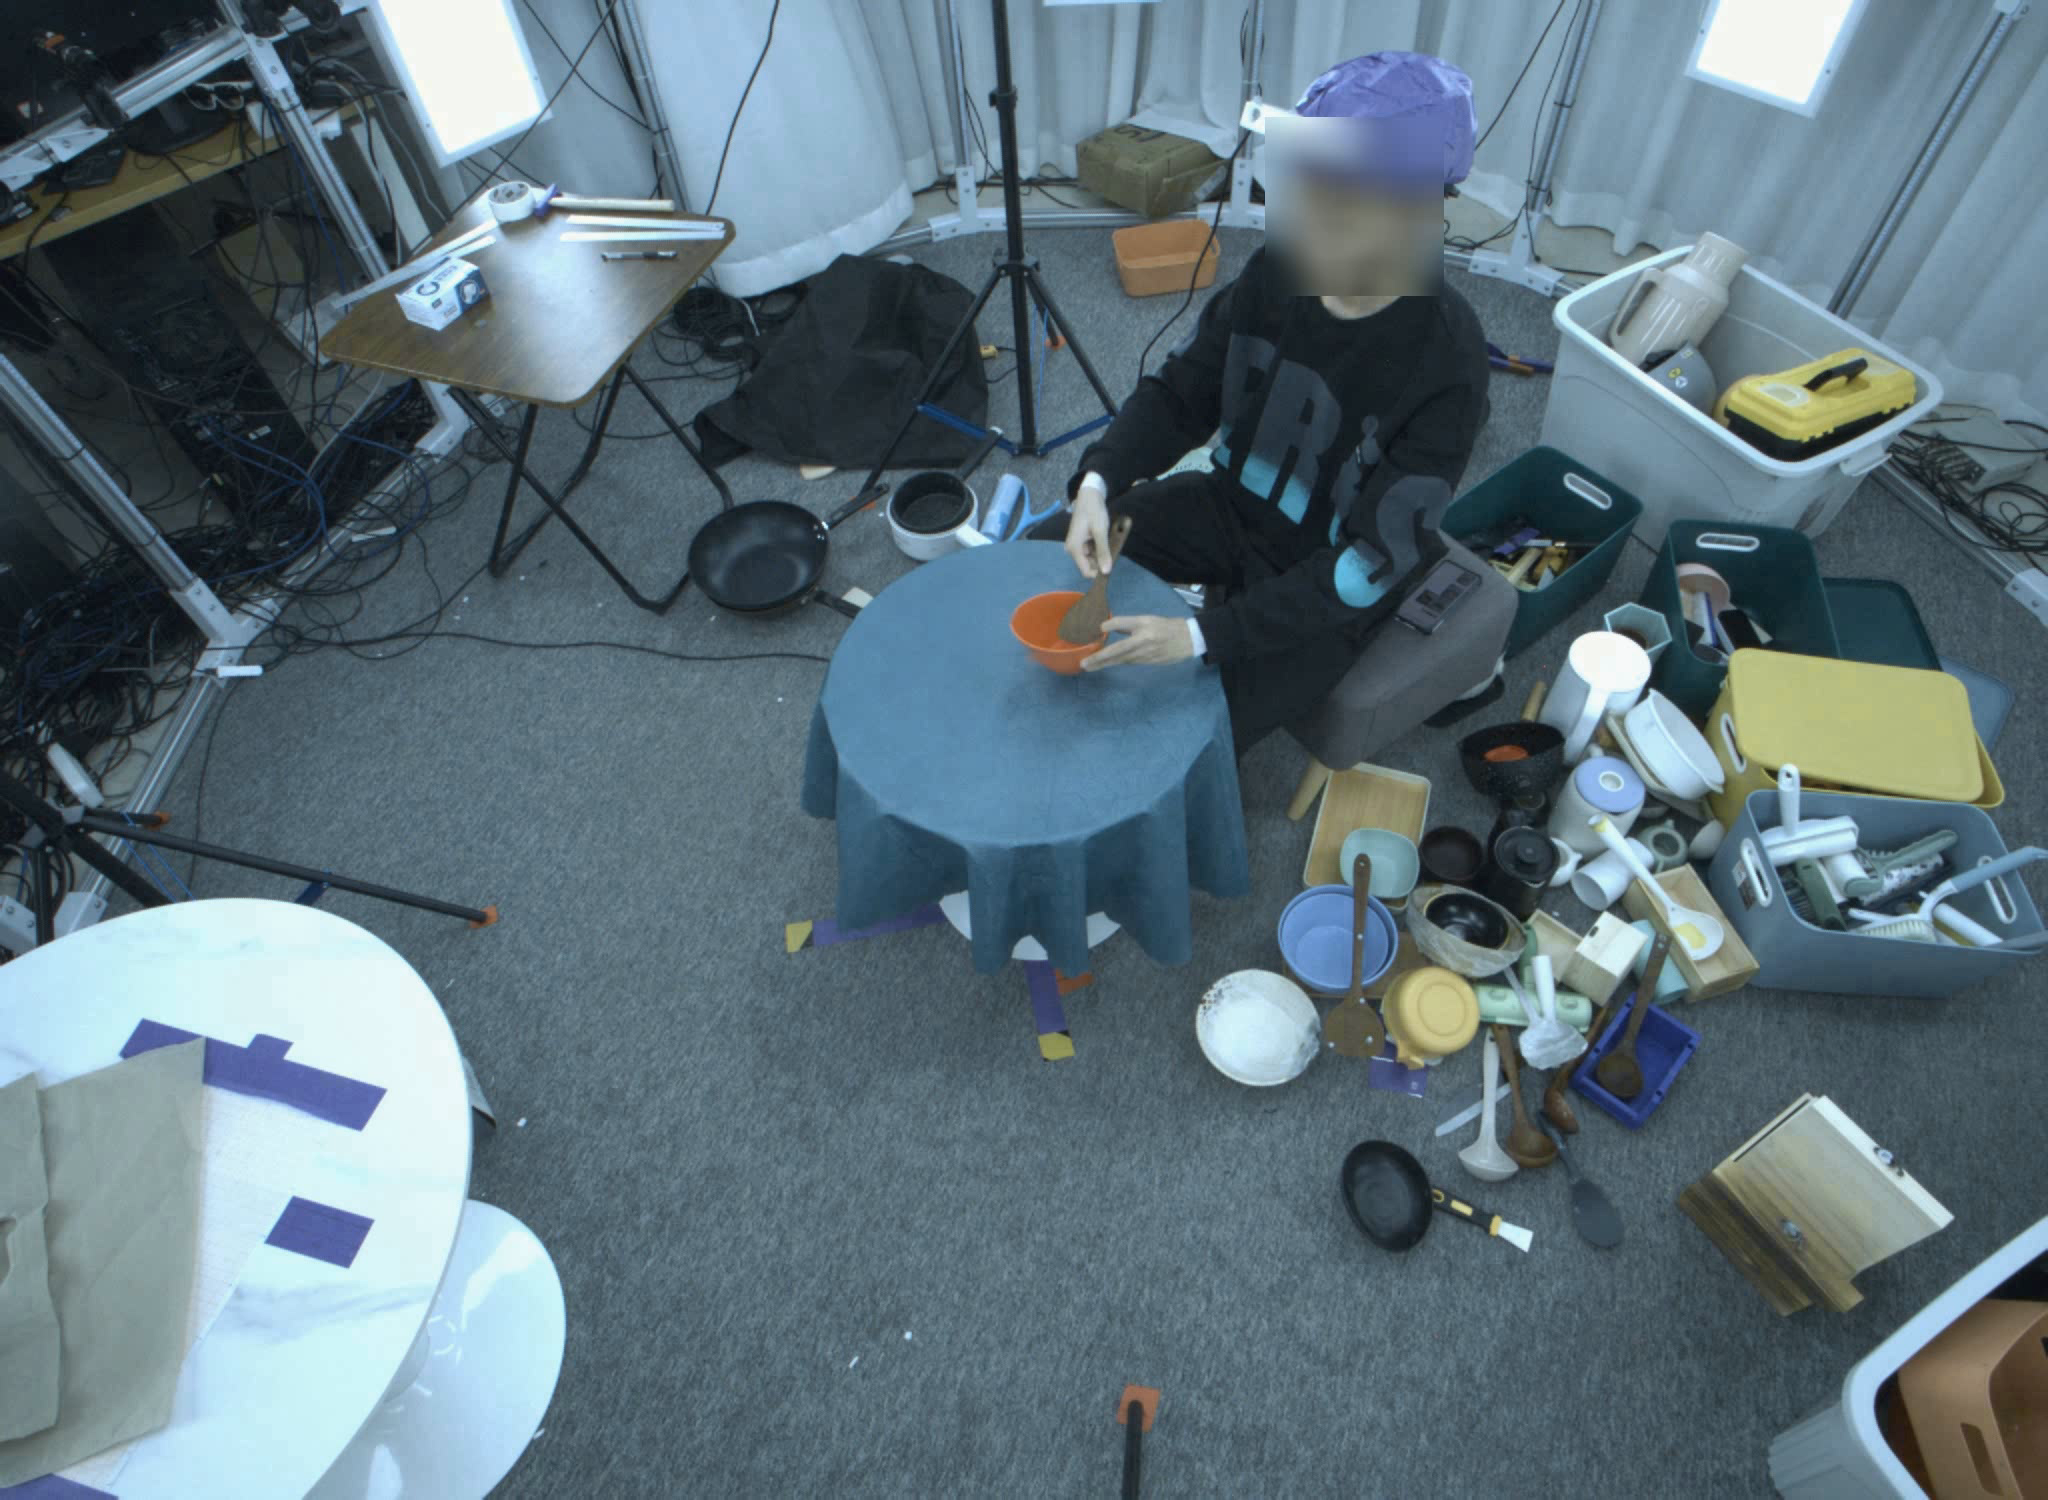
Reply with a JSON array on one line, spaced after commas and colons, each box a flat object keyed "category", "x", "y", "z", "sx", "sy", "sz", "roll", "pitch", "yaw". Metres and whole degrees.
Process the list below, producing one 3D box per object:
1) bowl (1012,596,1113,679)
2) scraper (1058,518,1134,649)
[{"category": "bowl", "x": 0.060, "y": -0.156, "z": 1.818, "sx": 0.147, "sy": 0.106, "sz": 0.146, "roll": -3, "pitch": 50, "yaw": 5}, {"category": "scraper", "x": 0.116, "y": -0.247, "z": 1.811, "sx": 0.074, "sy": 0.011, "sz": 0.211, "roll": 17, "pitch": 81, "yaw": 22}]
